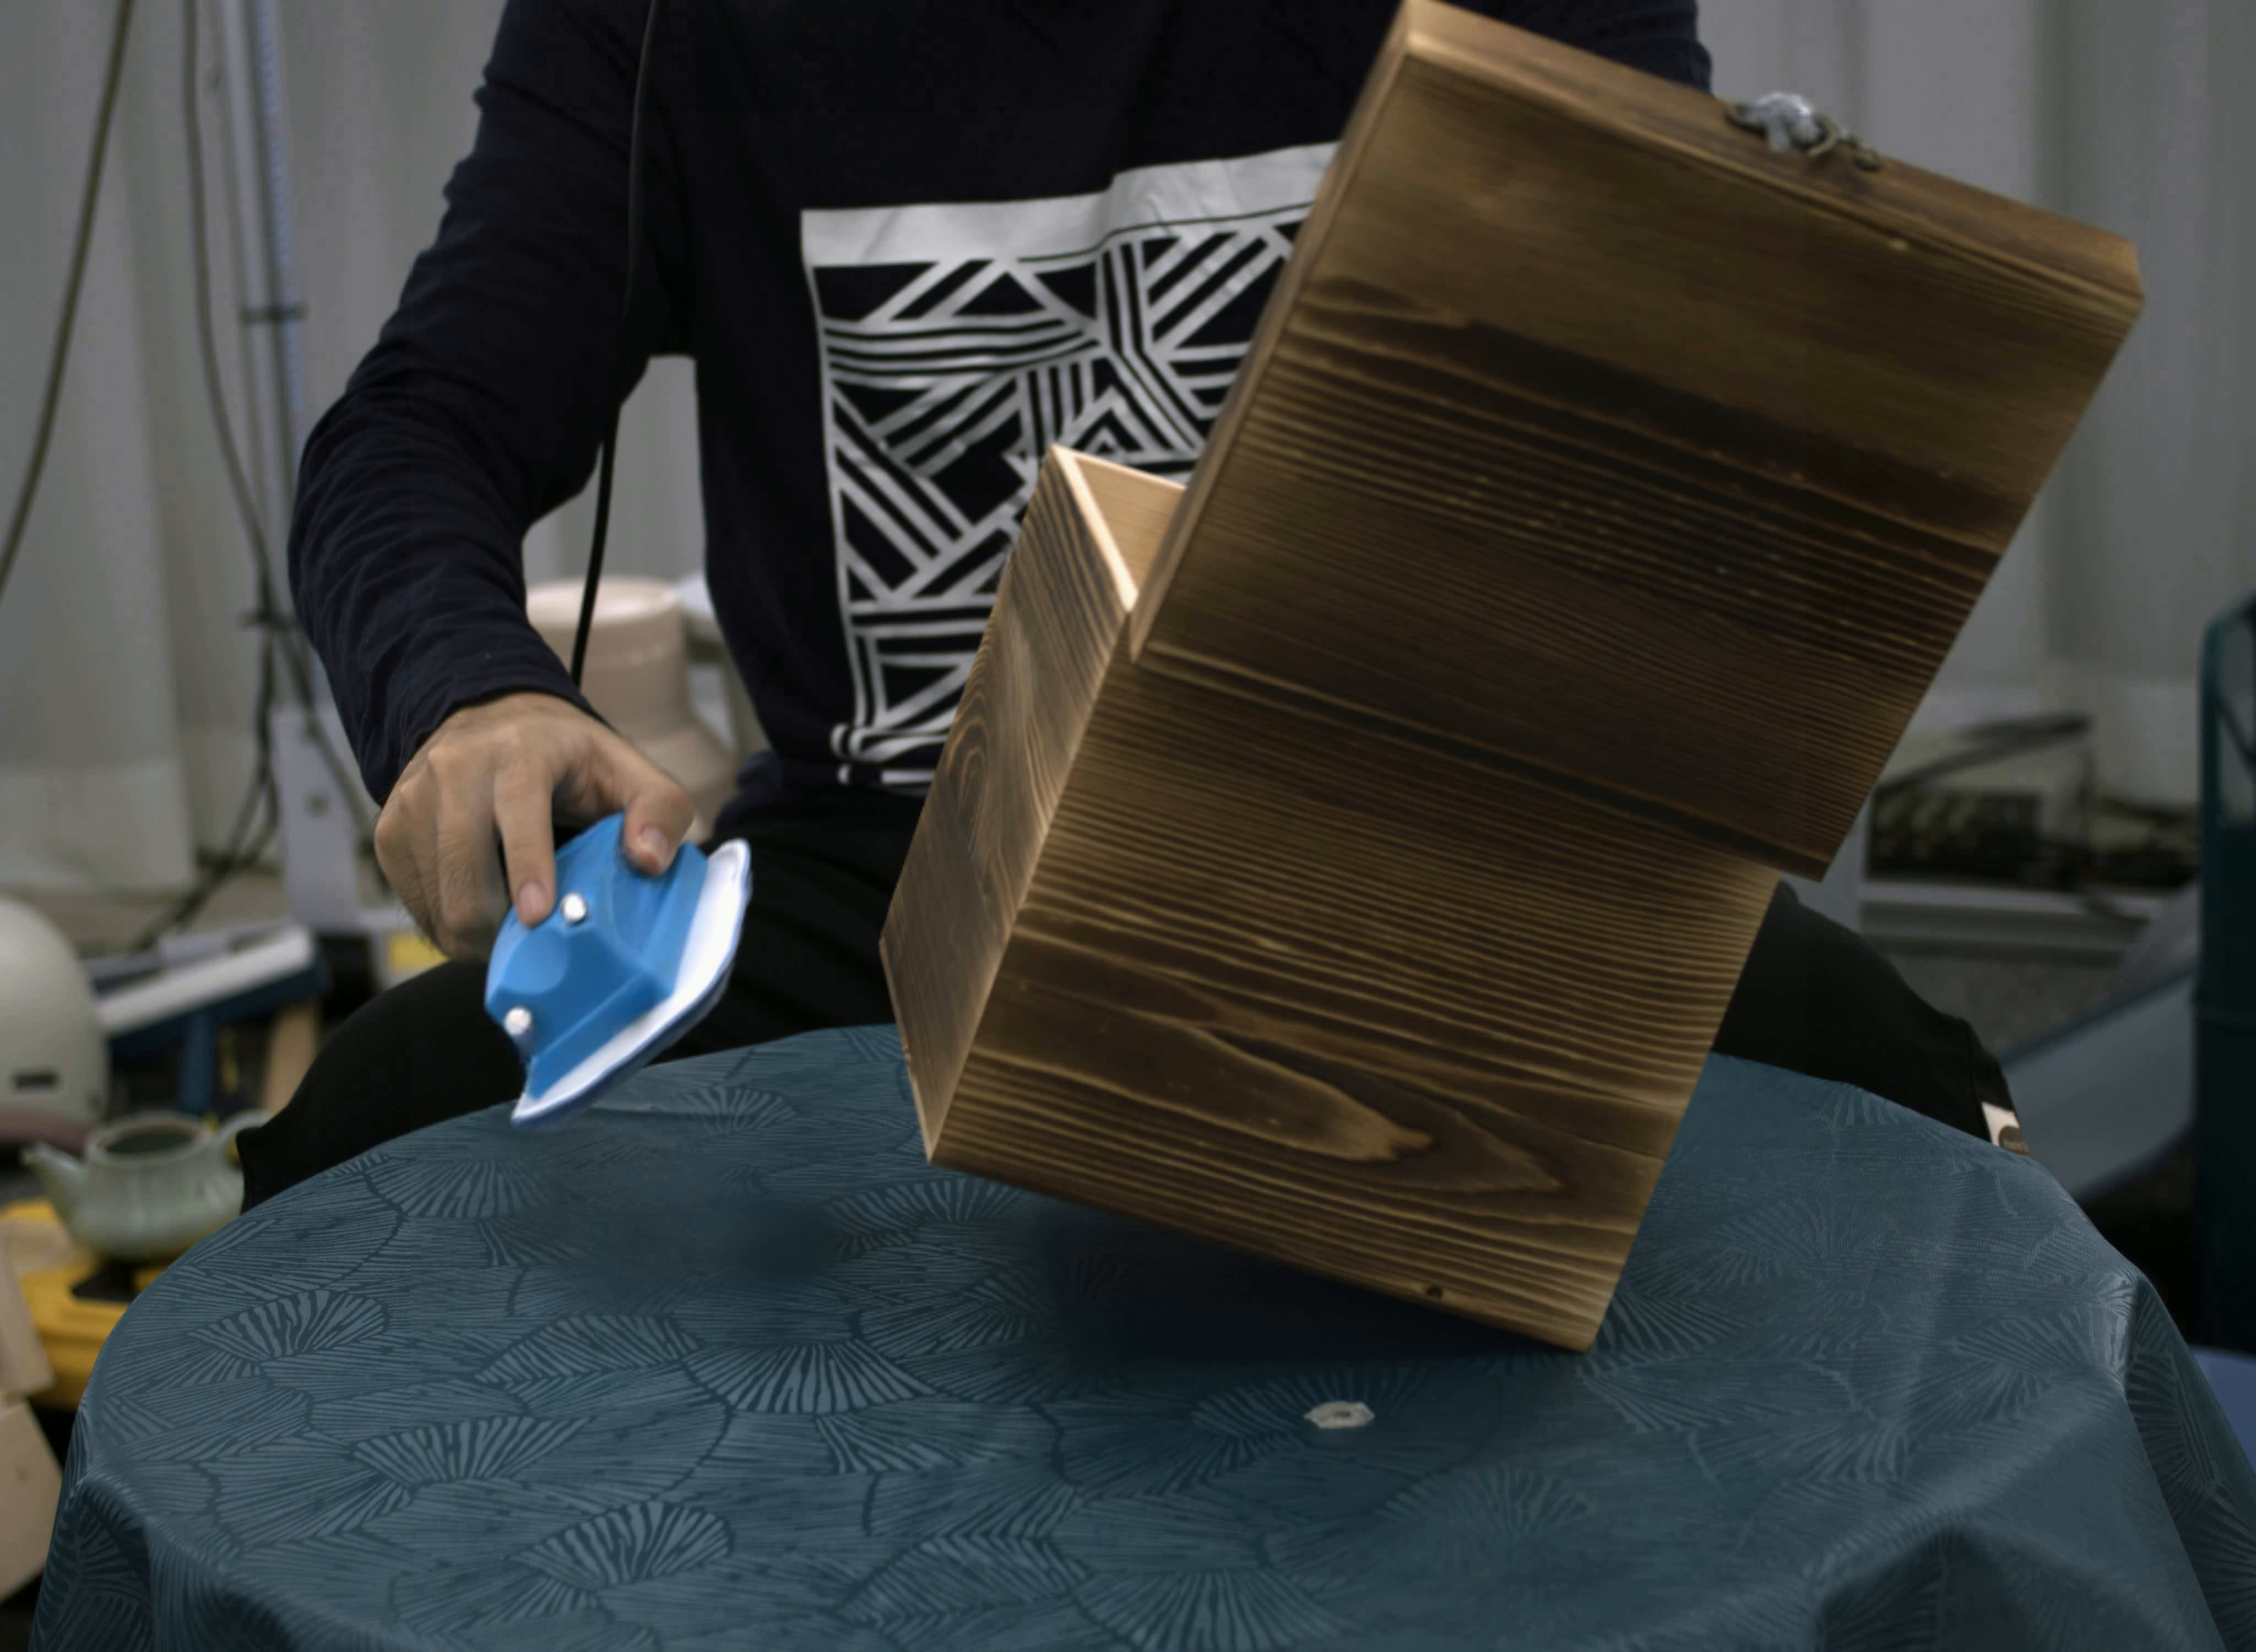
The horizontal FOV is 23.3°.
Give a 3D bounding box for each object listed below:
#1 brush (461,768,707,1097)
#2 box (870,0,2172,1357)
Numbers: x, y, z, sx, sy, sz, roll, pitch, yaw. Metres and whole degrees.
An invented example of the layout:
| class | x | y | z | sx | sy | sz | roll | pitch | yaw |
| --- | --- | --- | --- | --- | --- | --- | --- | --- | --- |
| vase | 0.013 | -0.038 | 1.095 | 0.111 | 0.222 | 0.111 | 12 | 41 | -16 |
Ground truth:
| class | x | y | z | sx | sy | sz | roll | pitch | yaw |
| --- | --- | --- | --- | --- | --- | --- | --- | --- | --- |
| brush | -0.175 | 0.028 | 1.685 | 0.083 | 0.055 | 0.145 | -35 | 18 | 10 |
| box | 0.095 | -0.056 | 1.546 | 0.207 | 0.374 | 0.325 | 18 | 13 | -12 |
